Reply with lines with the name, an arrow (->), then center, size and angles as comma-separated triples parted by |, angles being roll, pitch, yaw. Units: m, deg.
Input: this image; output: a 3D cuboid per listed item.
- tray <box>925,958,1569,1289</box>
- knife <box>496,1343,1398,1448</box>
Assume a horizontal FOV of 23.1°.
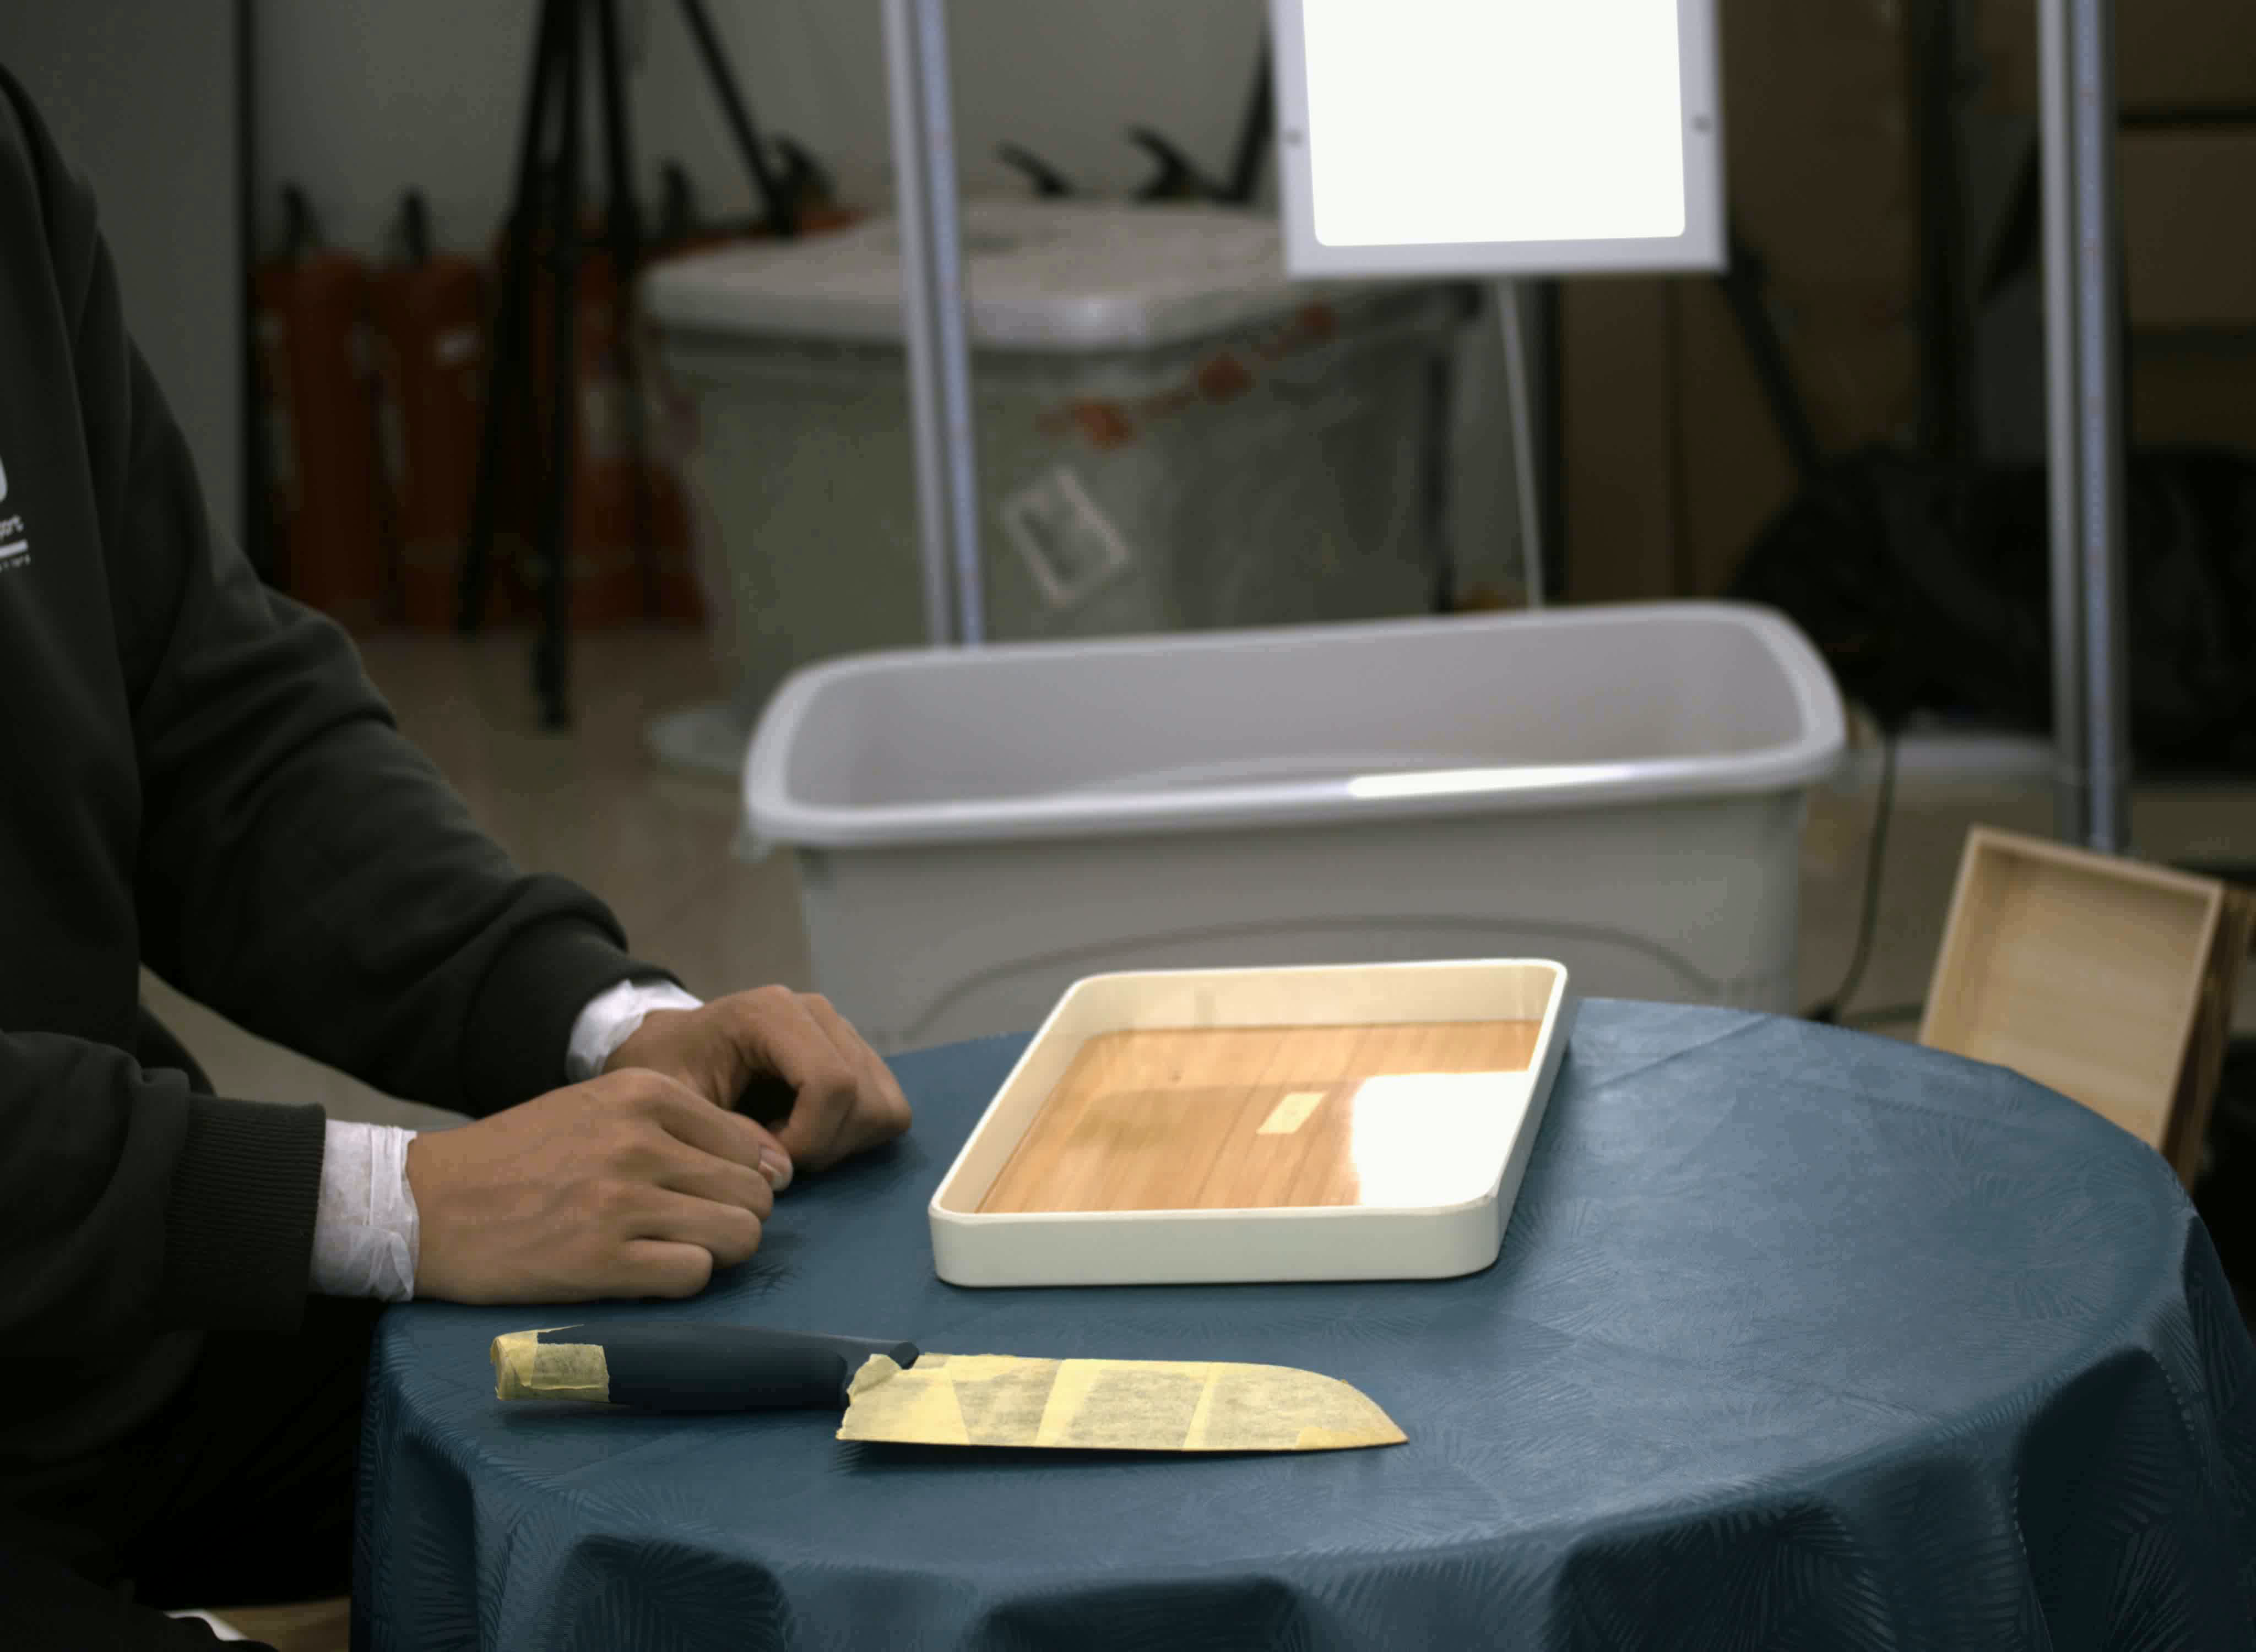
tray -> 0.049, 0.101, 1.933 | 0.193, 0.027, 0.297 | -3, 13, 12
knife -> -0.059, 0.177, 1.688 | 0.292, 0.027, 0.080 | -1, 13, 14
